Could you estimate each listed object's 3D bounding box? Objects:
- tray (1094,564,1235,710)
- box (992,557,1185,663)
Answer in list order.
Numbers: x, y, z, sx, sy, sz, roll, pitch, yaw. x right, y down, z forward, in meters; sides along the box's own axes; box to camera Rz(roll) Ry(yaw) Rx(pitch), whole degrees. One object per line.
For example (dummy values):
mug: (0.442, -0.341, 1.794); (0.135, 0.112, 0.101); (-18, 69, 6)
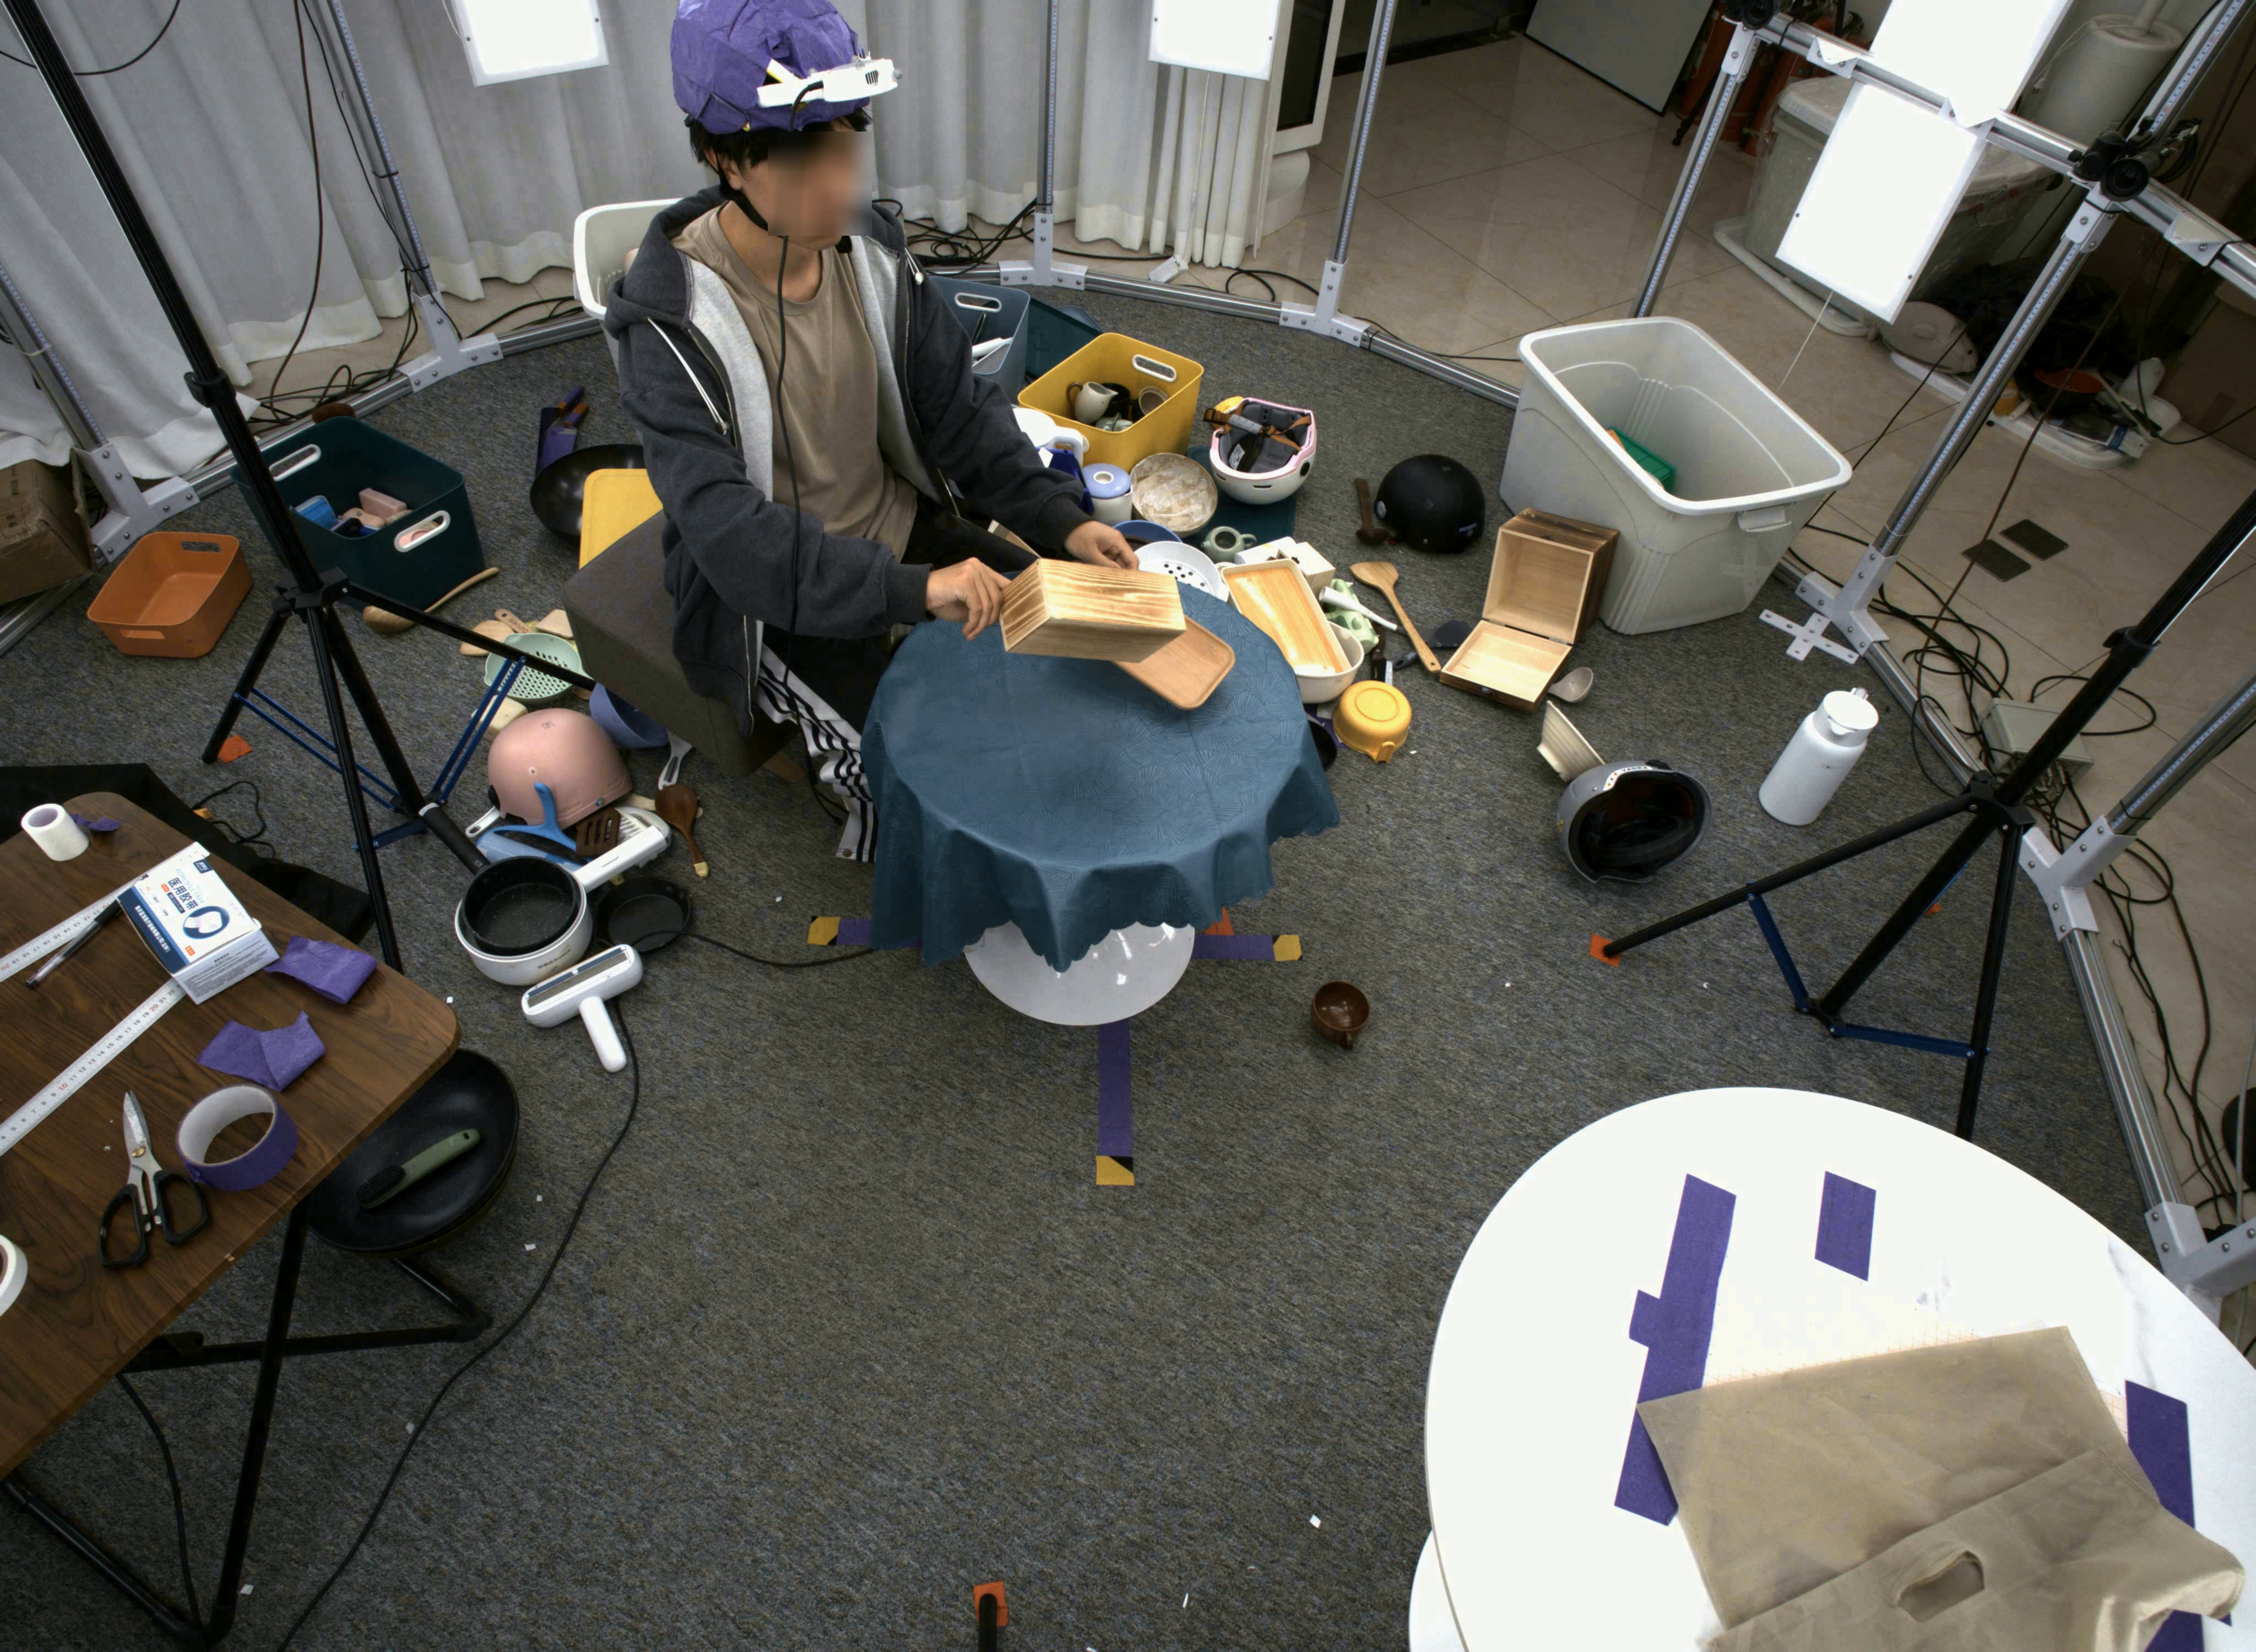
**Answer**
tray: (0.025, -0.269, 1.821); (0.252, 0.022, 0.132); (36, 64, 11)
box: (-0.048, -0.268, 1.618); (0.210, 0.106, 0.081); (-1, 72, -36)
